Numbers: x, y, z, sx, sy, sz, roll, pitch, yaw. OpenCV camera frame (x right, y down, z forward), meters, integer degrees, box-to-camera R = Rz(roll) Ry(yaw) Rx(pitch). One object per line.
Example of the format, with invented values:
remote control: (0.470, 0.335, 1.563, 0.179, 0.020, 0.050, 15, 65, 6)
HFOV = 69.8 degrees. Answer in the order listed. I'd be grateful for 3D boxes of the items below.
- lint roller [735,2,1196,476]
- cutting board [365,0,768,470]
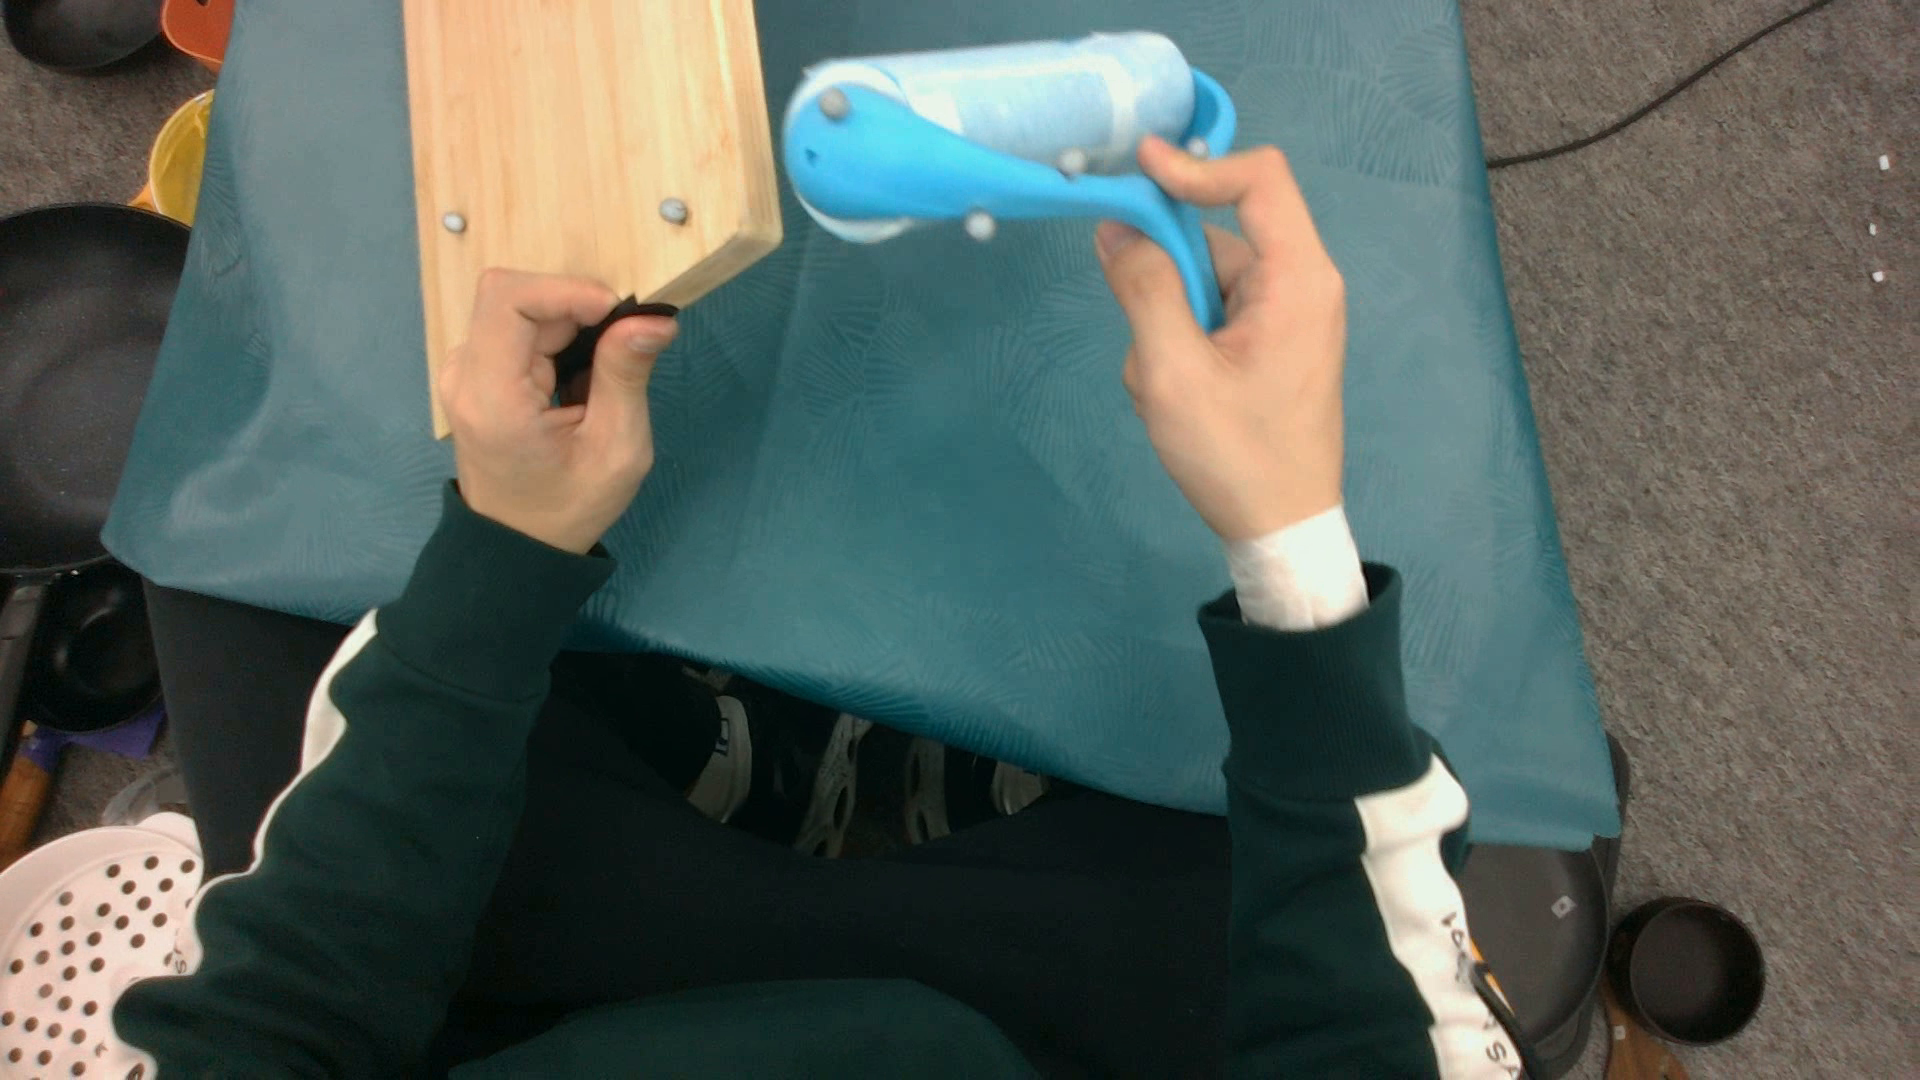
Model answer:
lint roller: (0.040, -0.111, 0.487, 0.180, 0.067, 0.230, 51, 37, 0)
cutting board: (-0.179, -0.228, 0.554, 0.023, 0.249, 0.349, 0, 75, -45)
